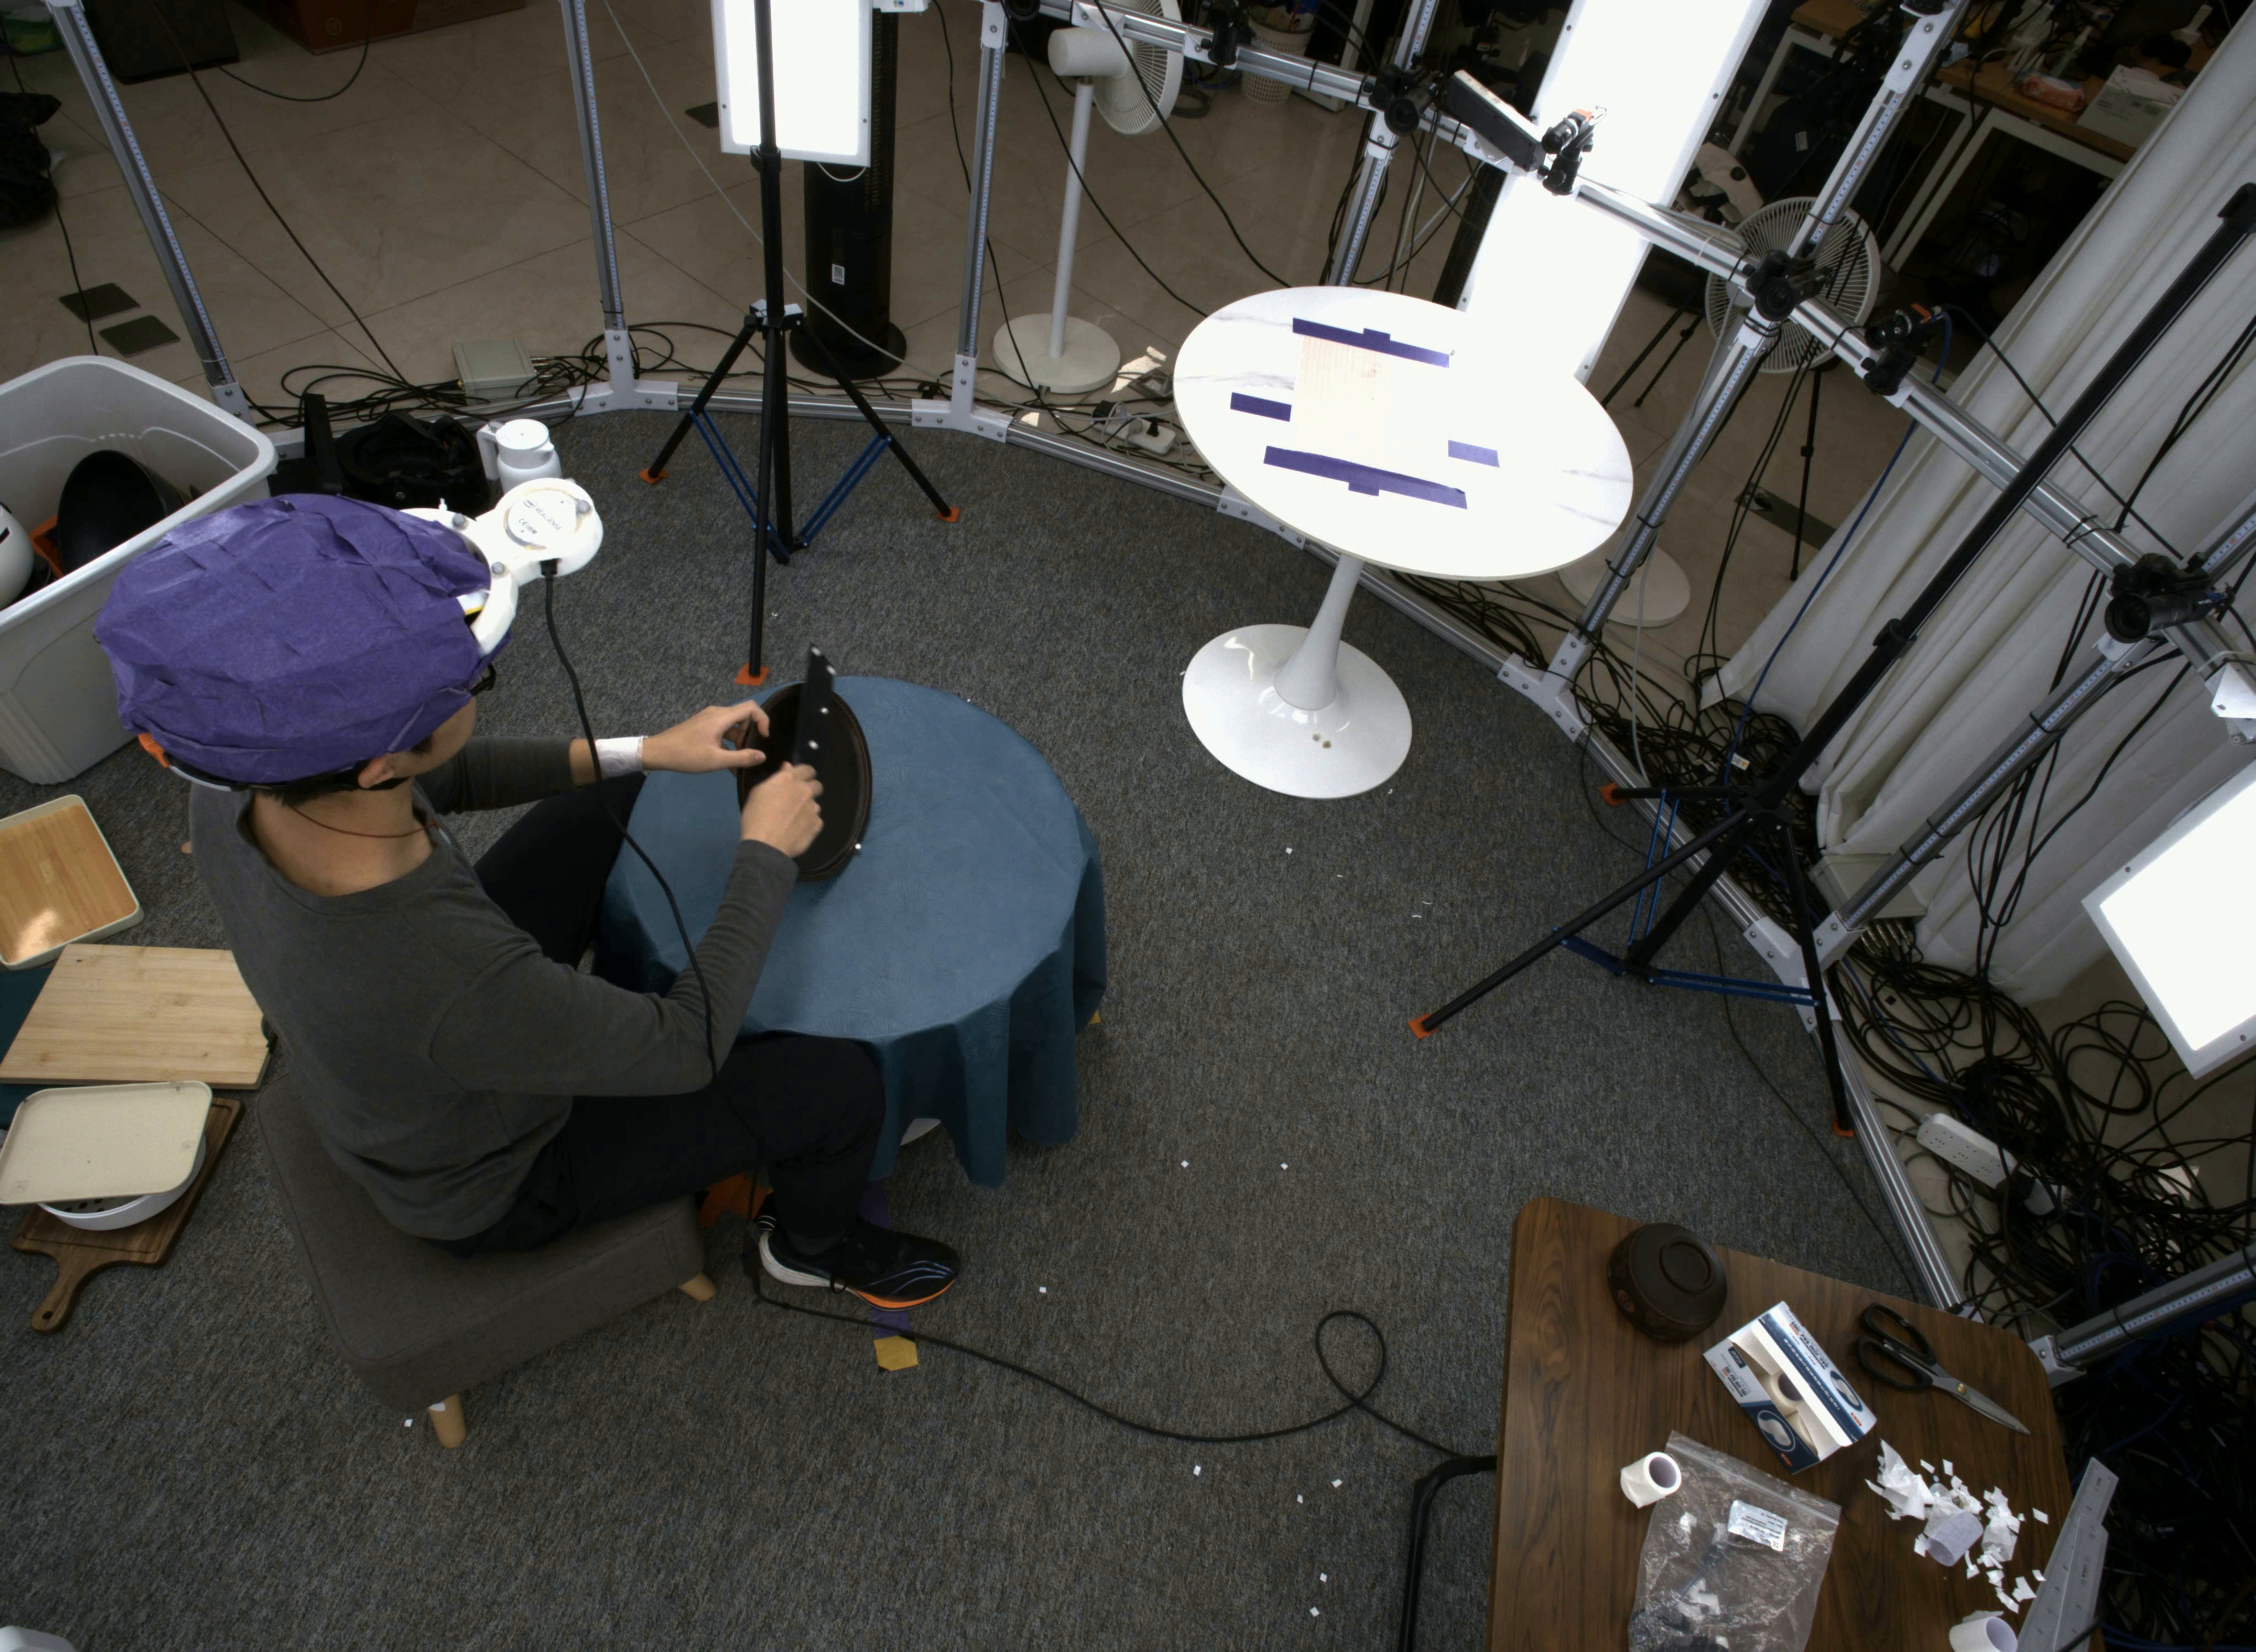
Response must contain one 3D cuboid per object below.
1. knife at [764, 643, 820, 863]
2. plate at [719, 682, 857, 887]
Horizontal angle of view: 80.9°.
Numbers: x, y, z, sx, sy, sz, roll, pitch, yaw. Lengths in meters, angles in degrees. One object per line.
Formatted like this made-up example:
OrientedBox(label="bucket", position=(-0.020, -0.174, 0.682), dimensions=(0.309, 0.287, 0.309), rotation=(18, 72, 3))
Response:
OrientedBox(label="knife", position=(-0.407, -0.089, 1.580), dimensions=(0.020, 0.084, 0.297), rotation=(-10, 55, 16))
OrientedBox(label="plate", position=(-0.426, -0.052, 1.634), dimensions=(0.028, 0.265, 0.252), rotation=(0, 47, 24))
